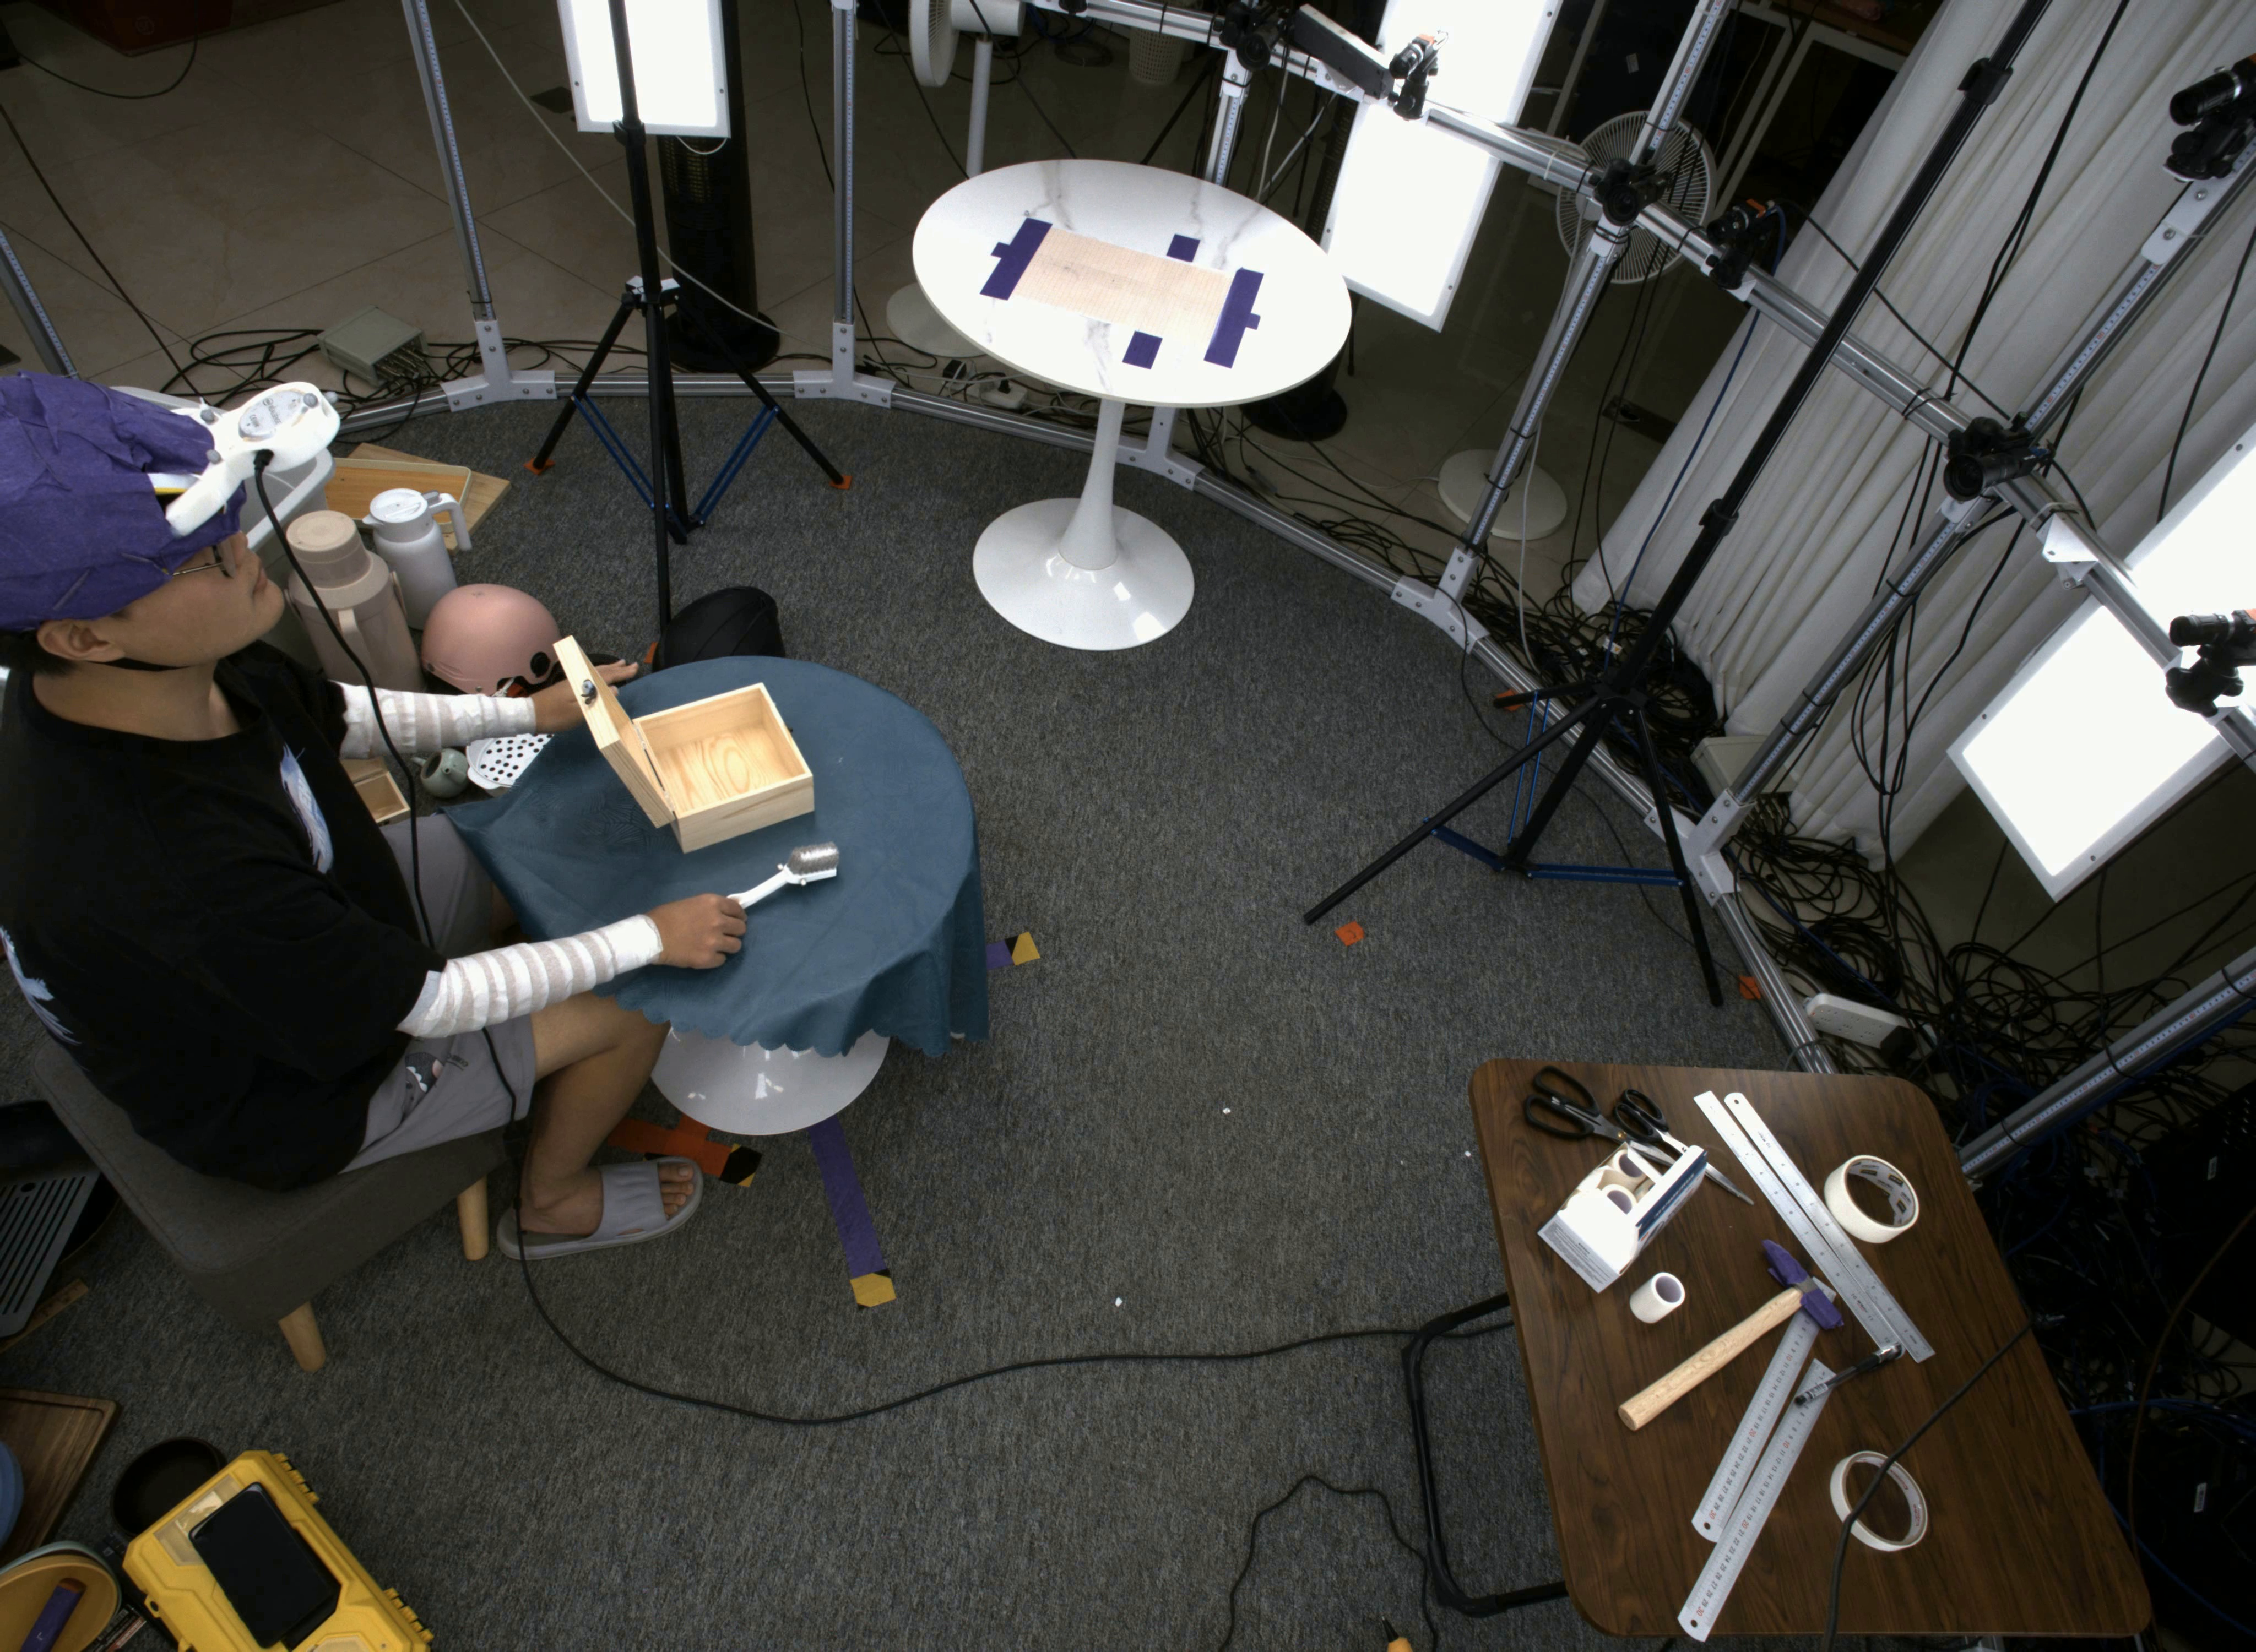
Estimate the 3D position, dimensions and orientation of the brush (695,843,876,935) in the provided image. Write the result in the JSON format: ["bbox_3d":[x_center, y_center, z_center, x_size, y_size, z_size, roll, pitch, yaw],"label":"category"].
[{"bbox_3d":[-0.433,0.074,1.639,0.245,0.051,0.033,-21,54,-30],"label":"brush"}]

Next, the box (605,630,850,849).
[{"bbox_3d":[-0.508,-0.131,1.651,0.266,0.258,0.177,-20,60,-25],"label":"box"}]
